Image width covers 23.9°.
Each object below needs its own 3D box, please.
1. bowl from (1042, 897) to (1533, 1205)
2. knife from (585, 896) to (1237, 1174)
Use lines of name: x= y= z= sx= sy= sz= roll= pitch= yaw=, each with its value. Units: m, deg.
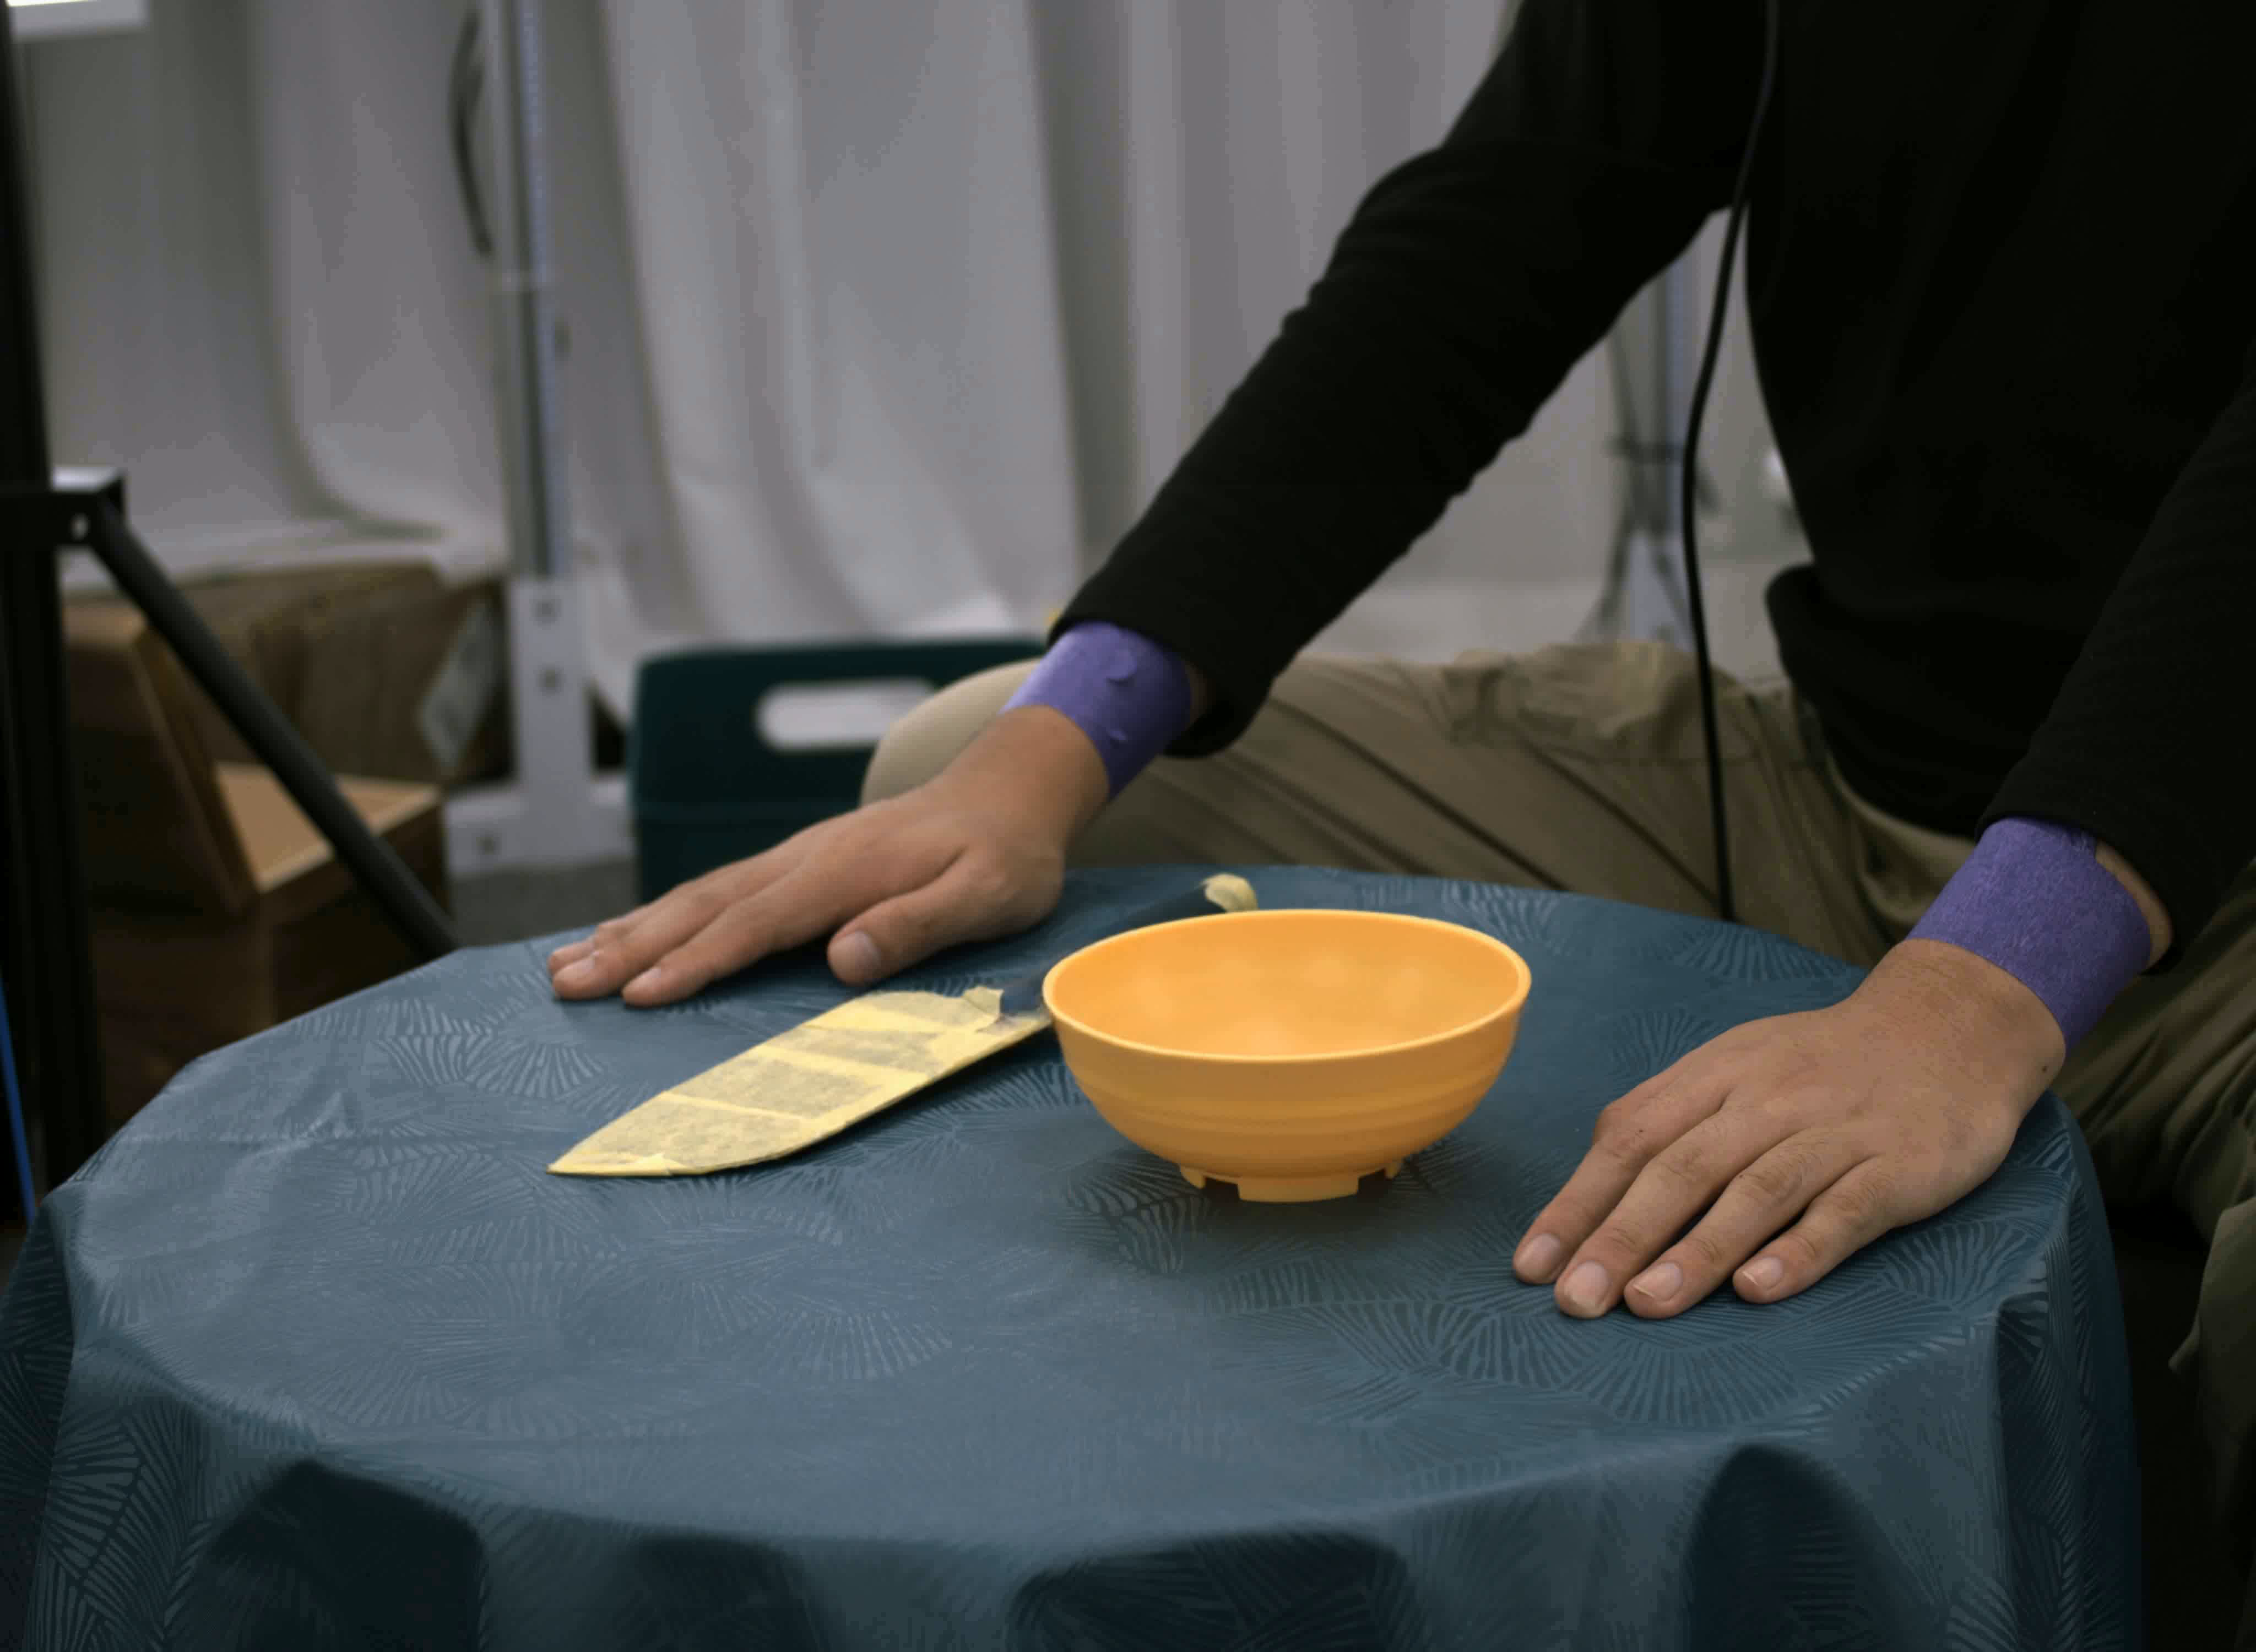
bowl: x=0.047 y=0.072 z=1.566 sx=0.144 sy=0.060 sz=0.146 roll=-2 pitch=18 yaw=-1
knife: x=-0.064 y=0.066 z=1.688 sx=0.083 sy=0.027 sz=0.283 roll=13 pitch=23 yaw=40
